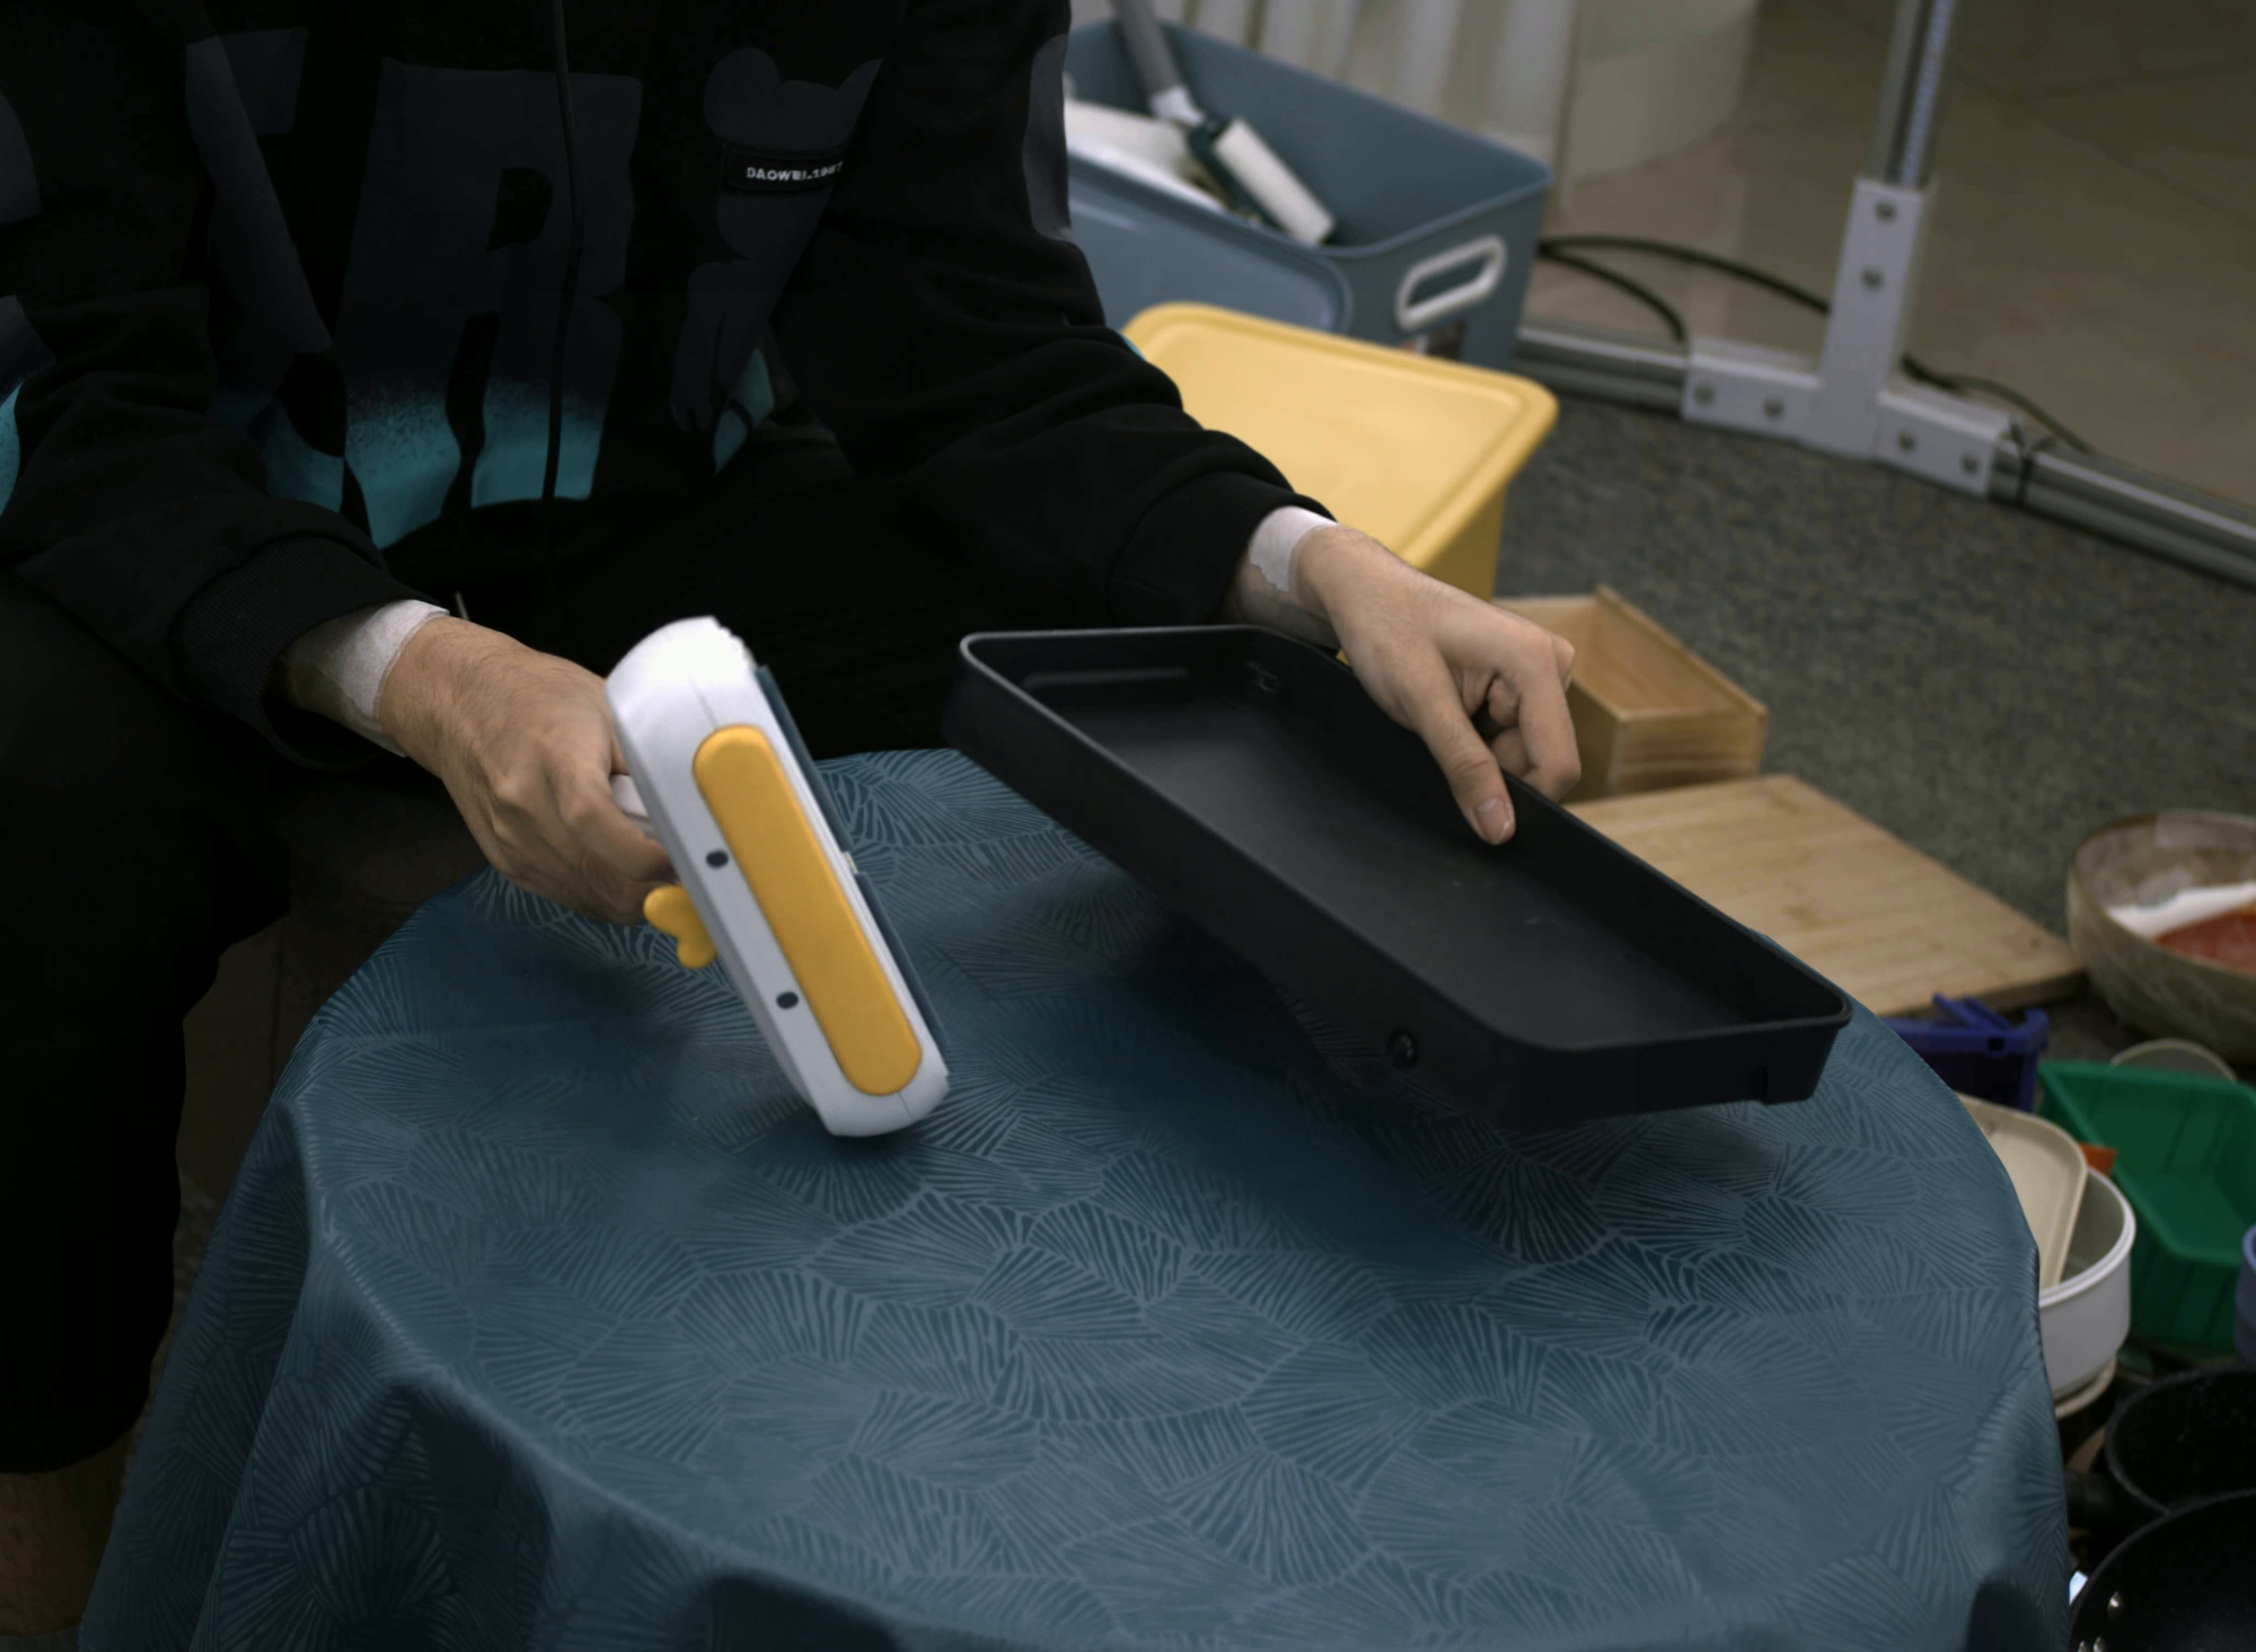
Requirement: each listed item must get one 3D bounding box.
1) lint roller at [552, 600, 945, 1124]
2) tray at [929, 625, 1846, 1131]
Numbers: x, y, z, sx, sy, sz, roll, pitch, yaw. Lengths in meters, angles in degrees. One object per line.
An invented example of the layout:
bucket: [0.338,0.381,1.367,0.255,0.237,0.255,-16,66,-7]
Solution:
lint roller: [-0.146,0.006,1.830,0.074,0.192,0.193,-36,22,-9]
tray: [0.087,0.013,1.890,0.183,0.037,0.320,-4,29,-45]
